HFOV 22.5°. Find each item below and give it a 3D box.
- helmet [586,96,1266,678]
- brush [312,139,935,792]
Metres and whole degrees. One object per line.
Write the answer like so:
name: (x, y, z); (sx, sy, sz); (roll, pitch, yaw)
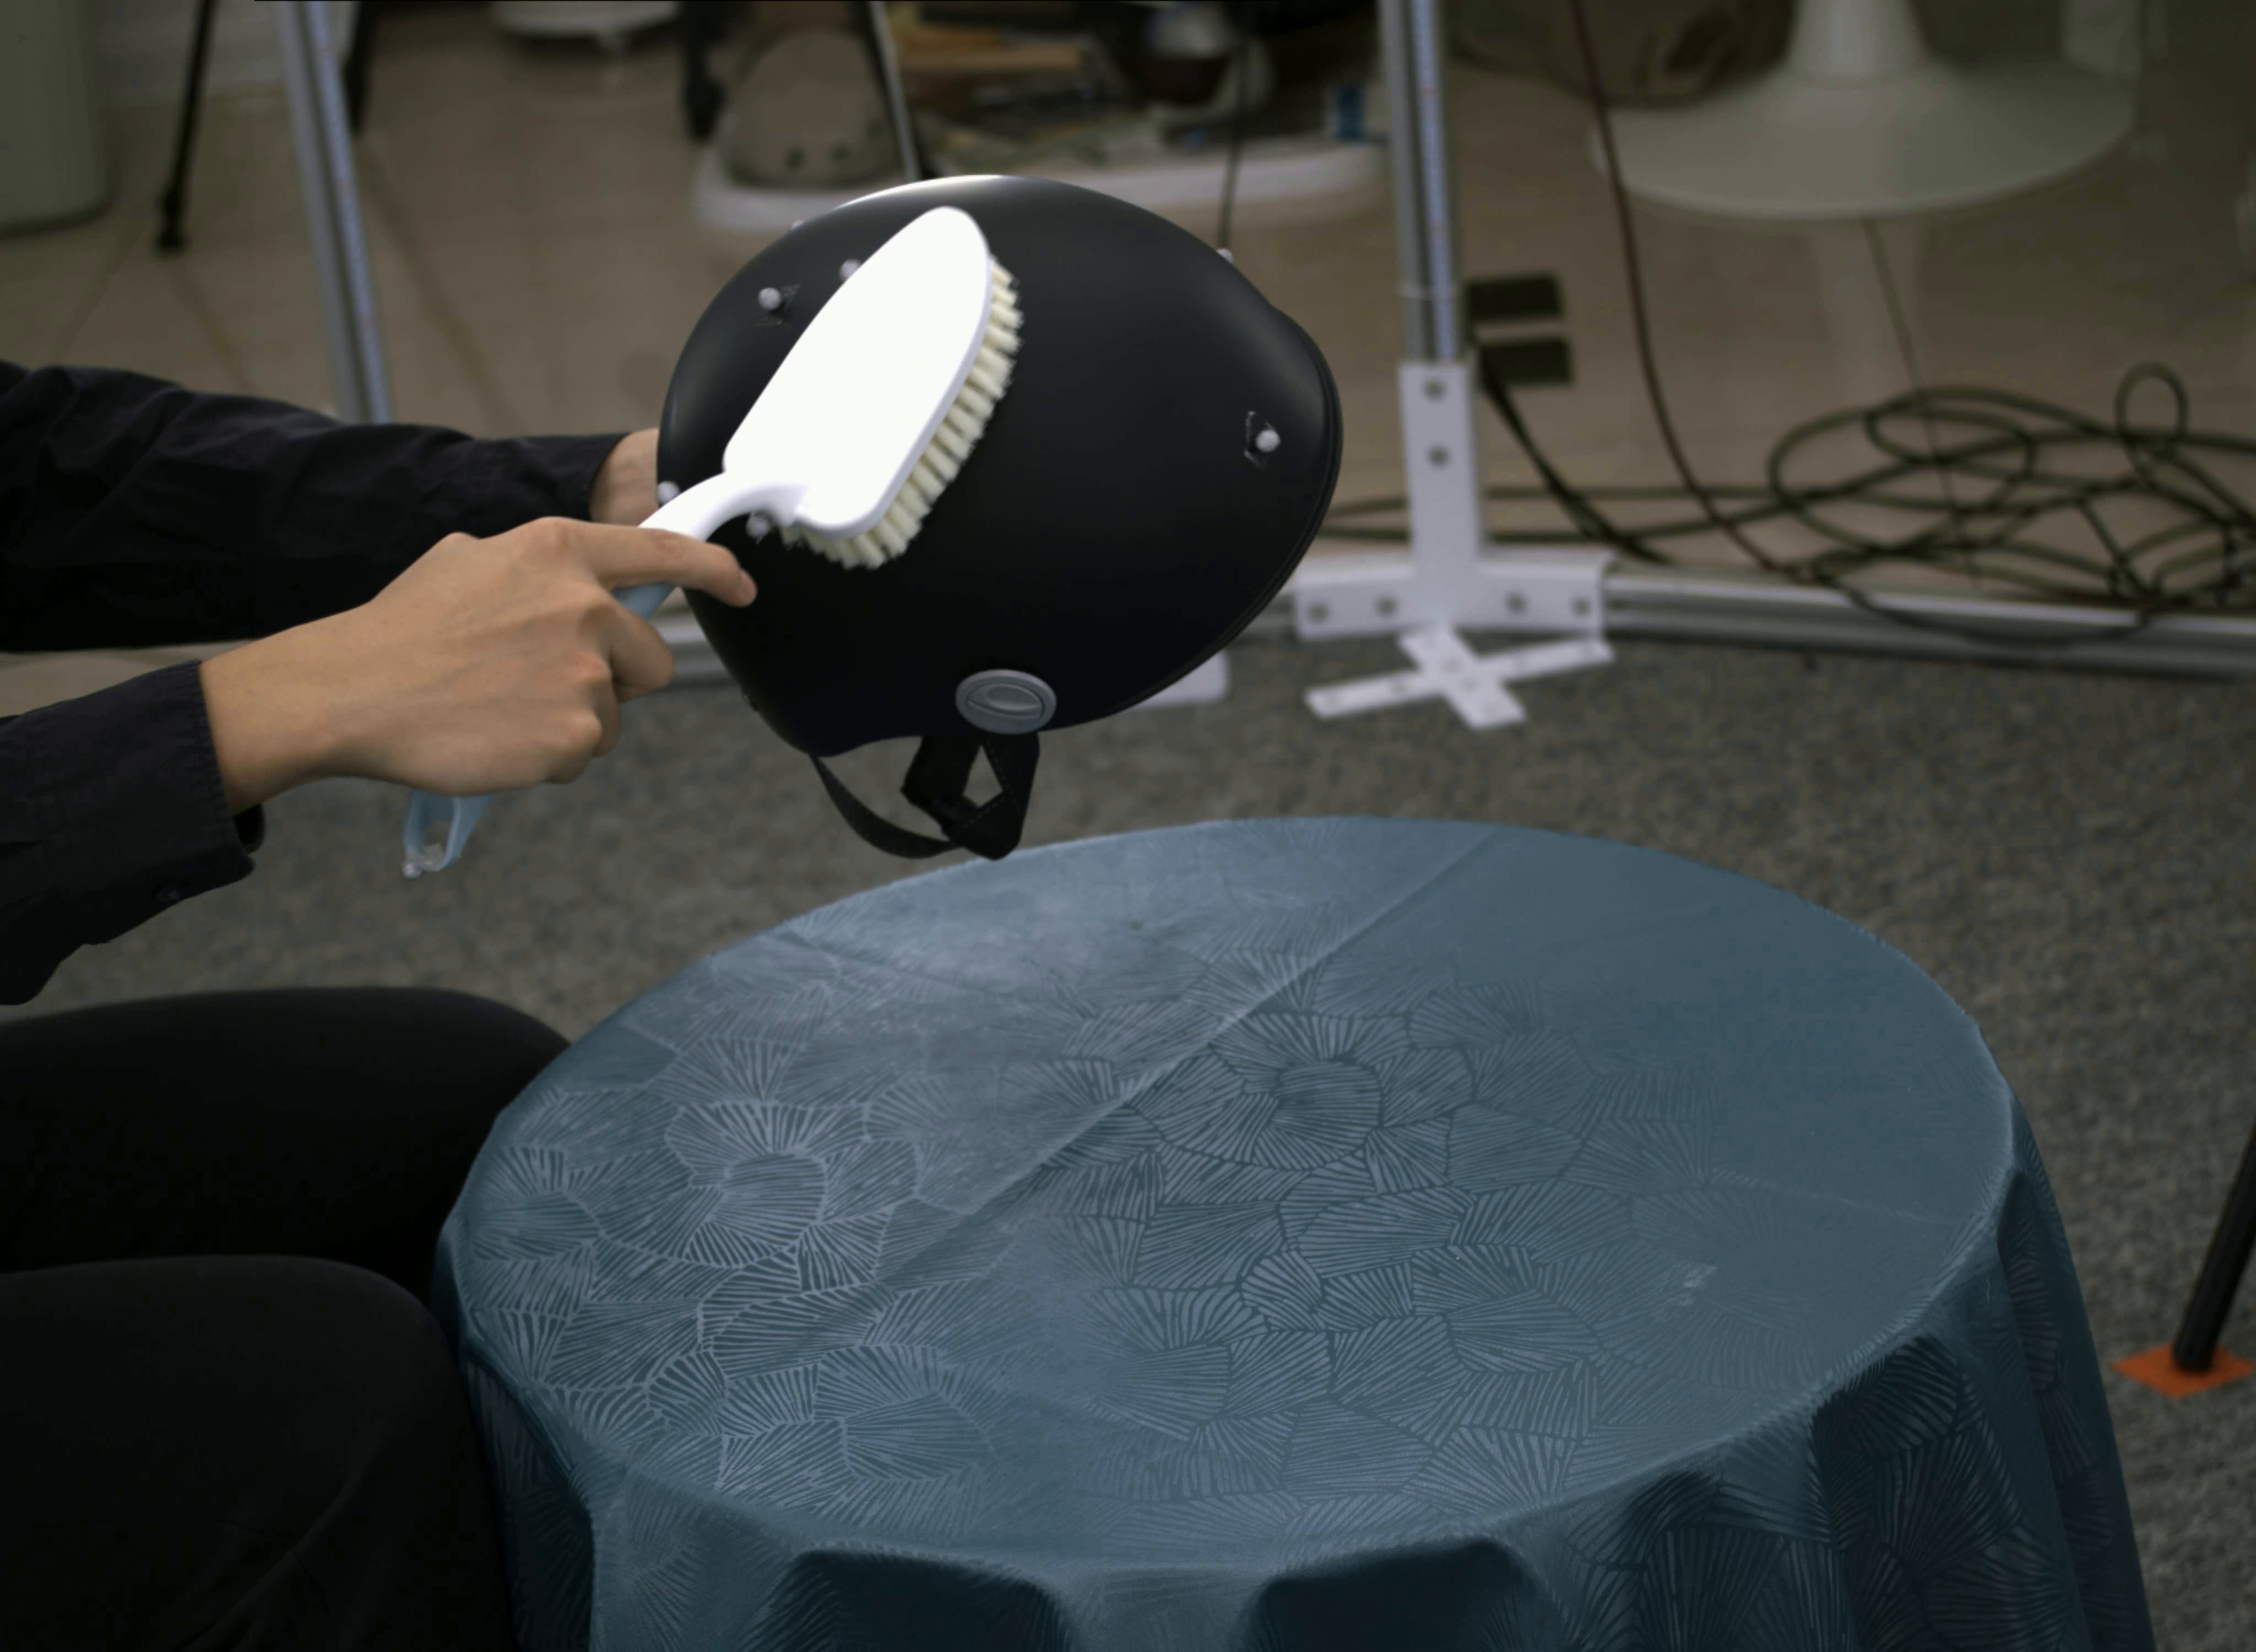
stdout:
helmet: (-0.098, -0.183, 2.158); (0.273, 0.169, 0.227); (-5, 58, 38)
brush: (-0.175, -0.114, 2.007); (0.322, 0.085, 0.083); (-51, 19, -23)
